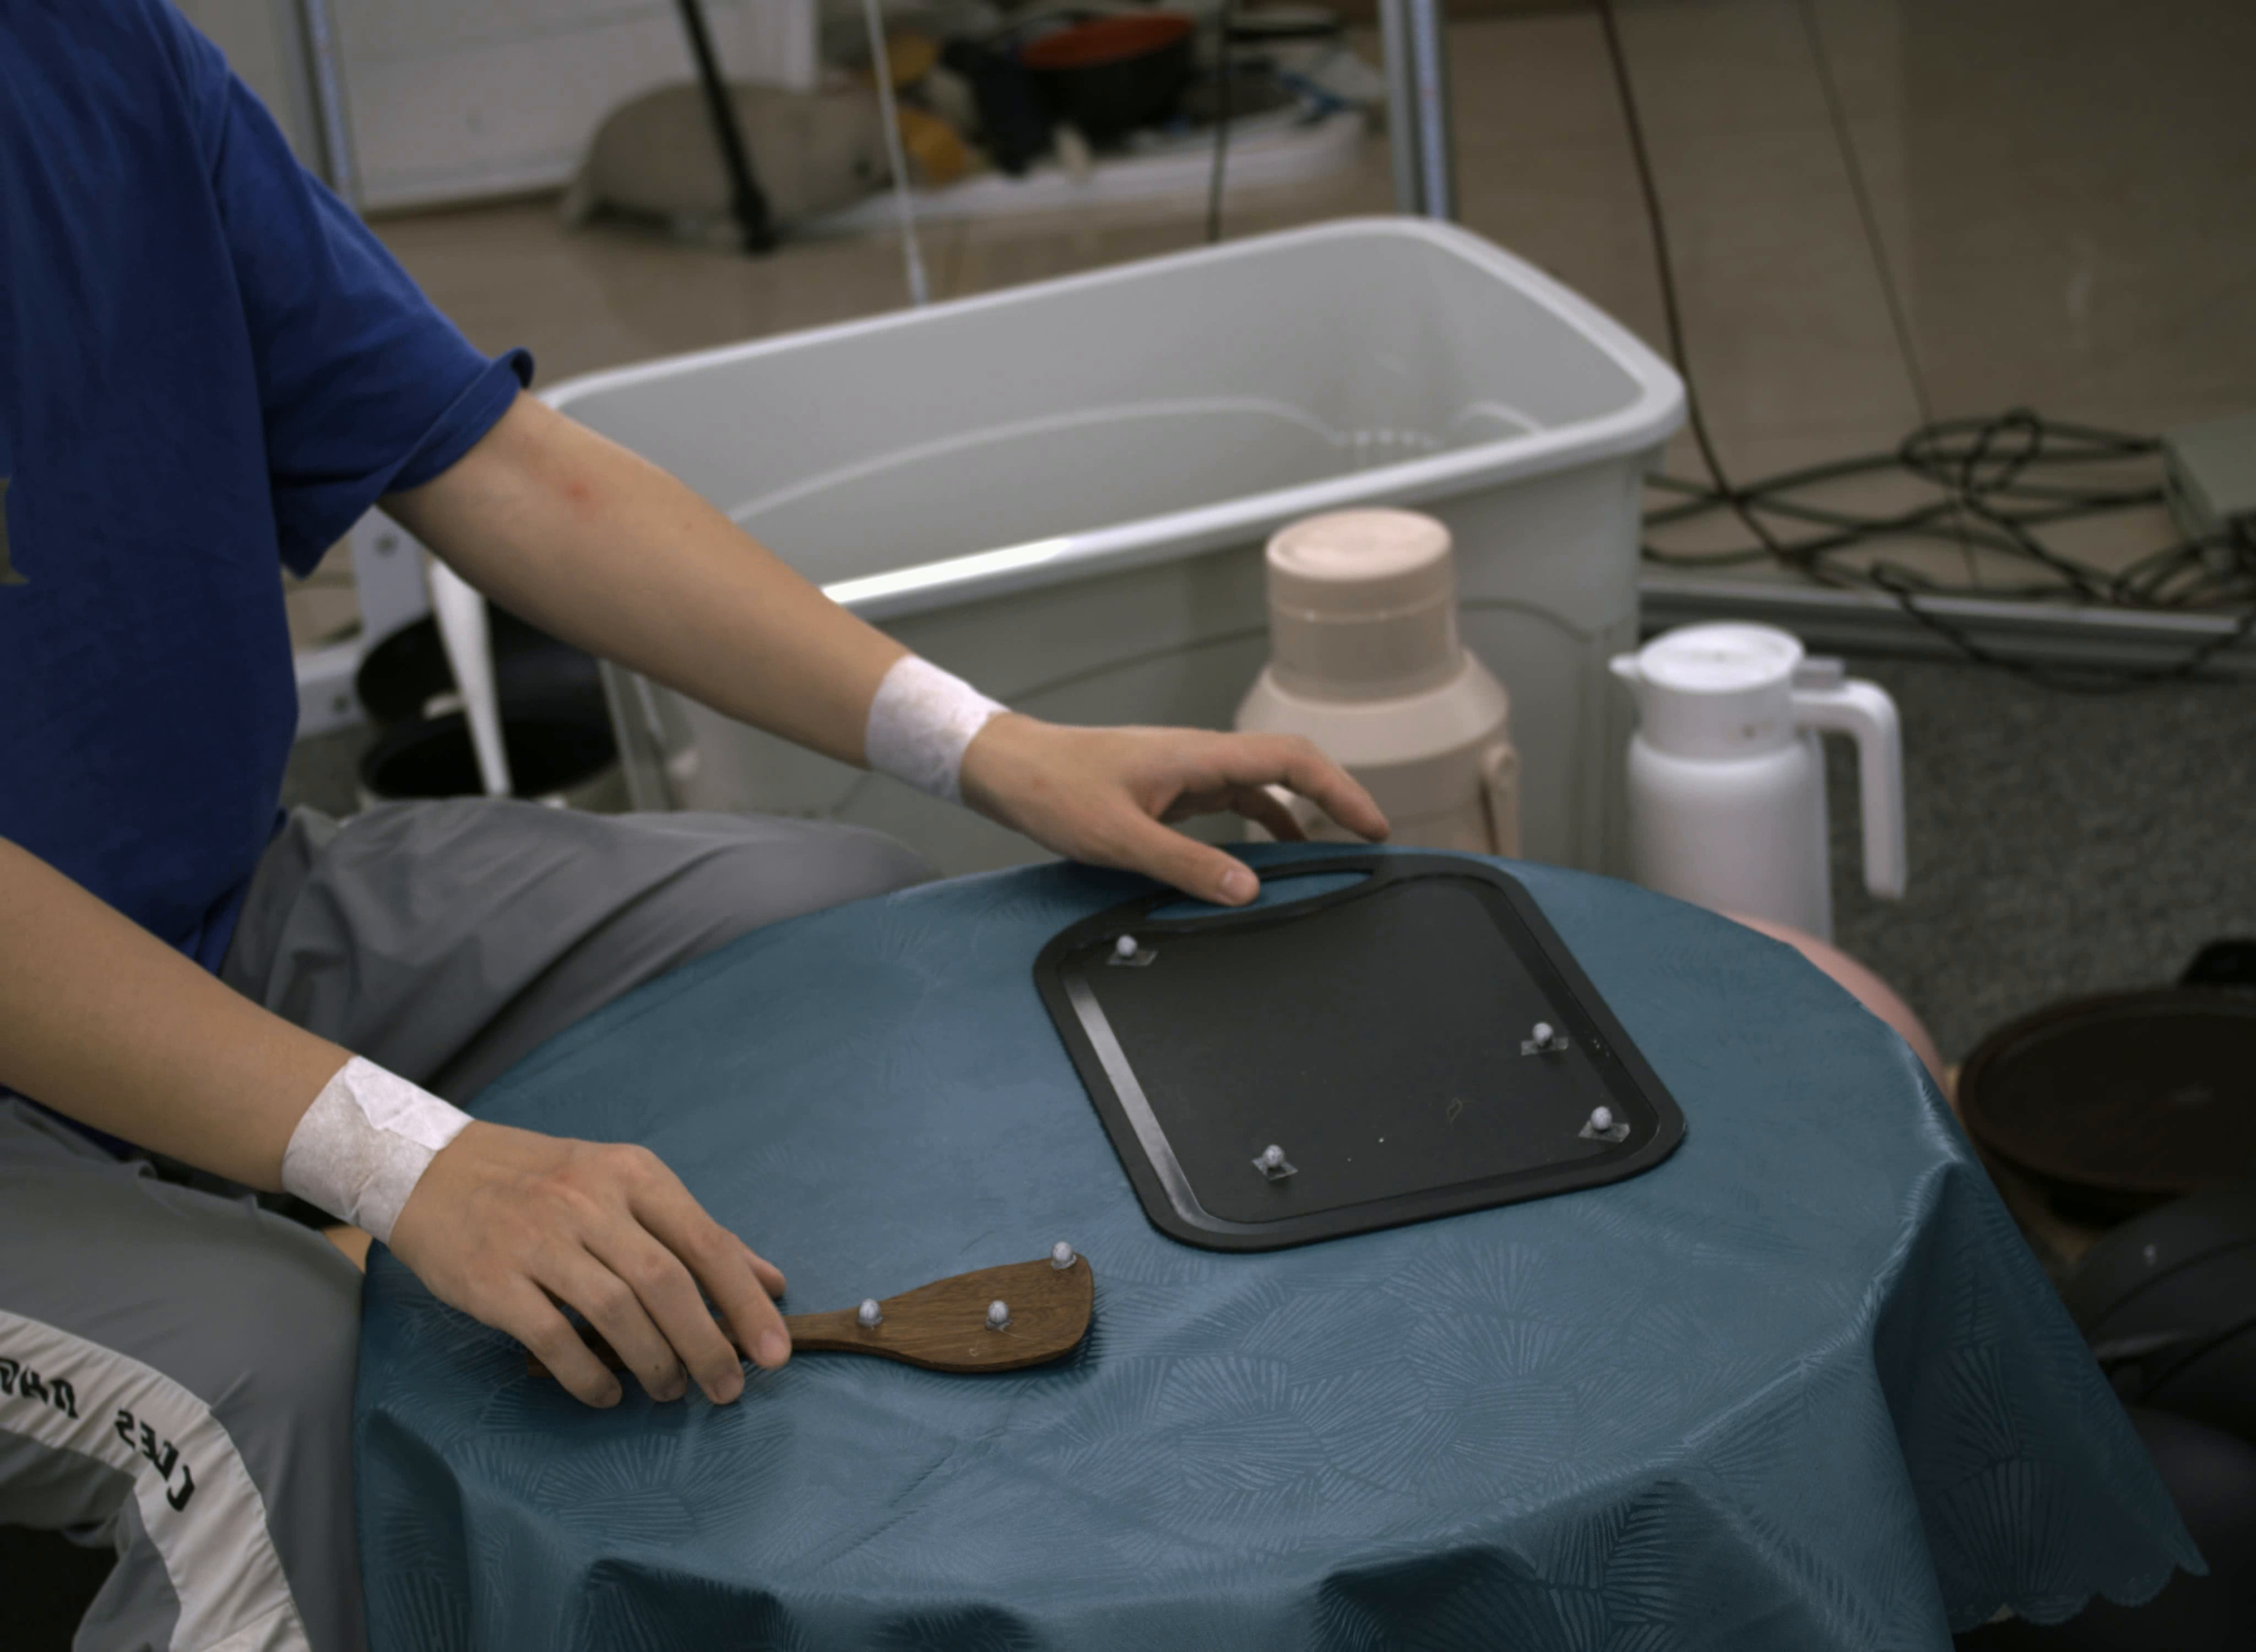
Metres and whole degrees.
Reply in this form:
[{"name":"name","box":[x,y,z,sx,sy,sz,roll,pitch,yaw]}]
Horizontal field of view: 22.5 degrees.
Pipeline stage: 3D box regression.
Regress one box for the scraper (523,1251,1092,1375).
[{"name":"scraper","box":[-0.117,0.184,2.069,0.211,0.011,0.075,-5,24,5]}]

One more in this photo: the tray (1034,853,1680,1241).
[{"name":"tray","box":[0.082,0.080,2.246,0.210,0.010,0.321,-10,25,-8]}]
